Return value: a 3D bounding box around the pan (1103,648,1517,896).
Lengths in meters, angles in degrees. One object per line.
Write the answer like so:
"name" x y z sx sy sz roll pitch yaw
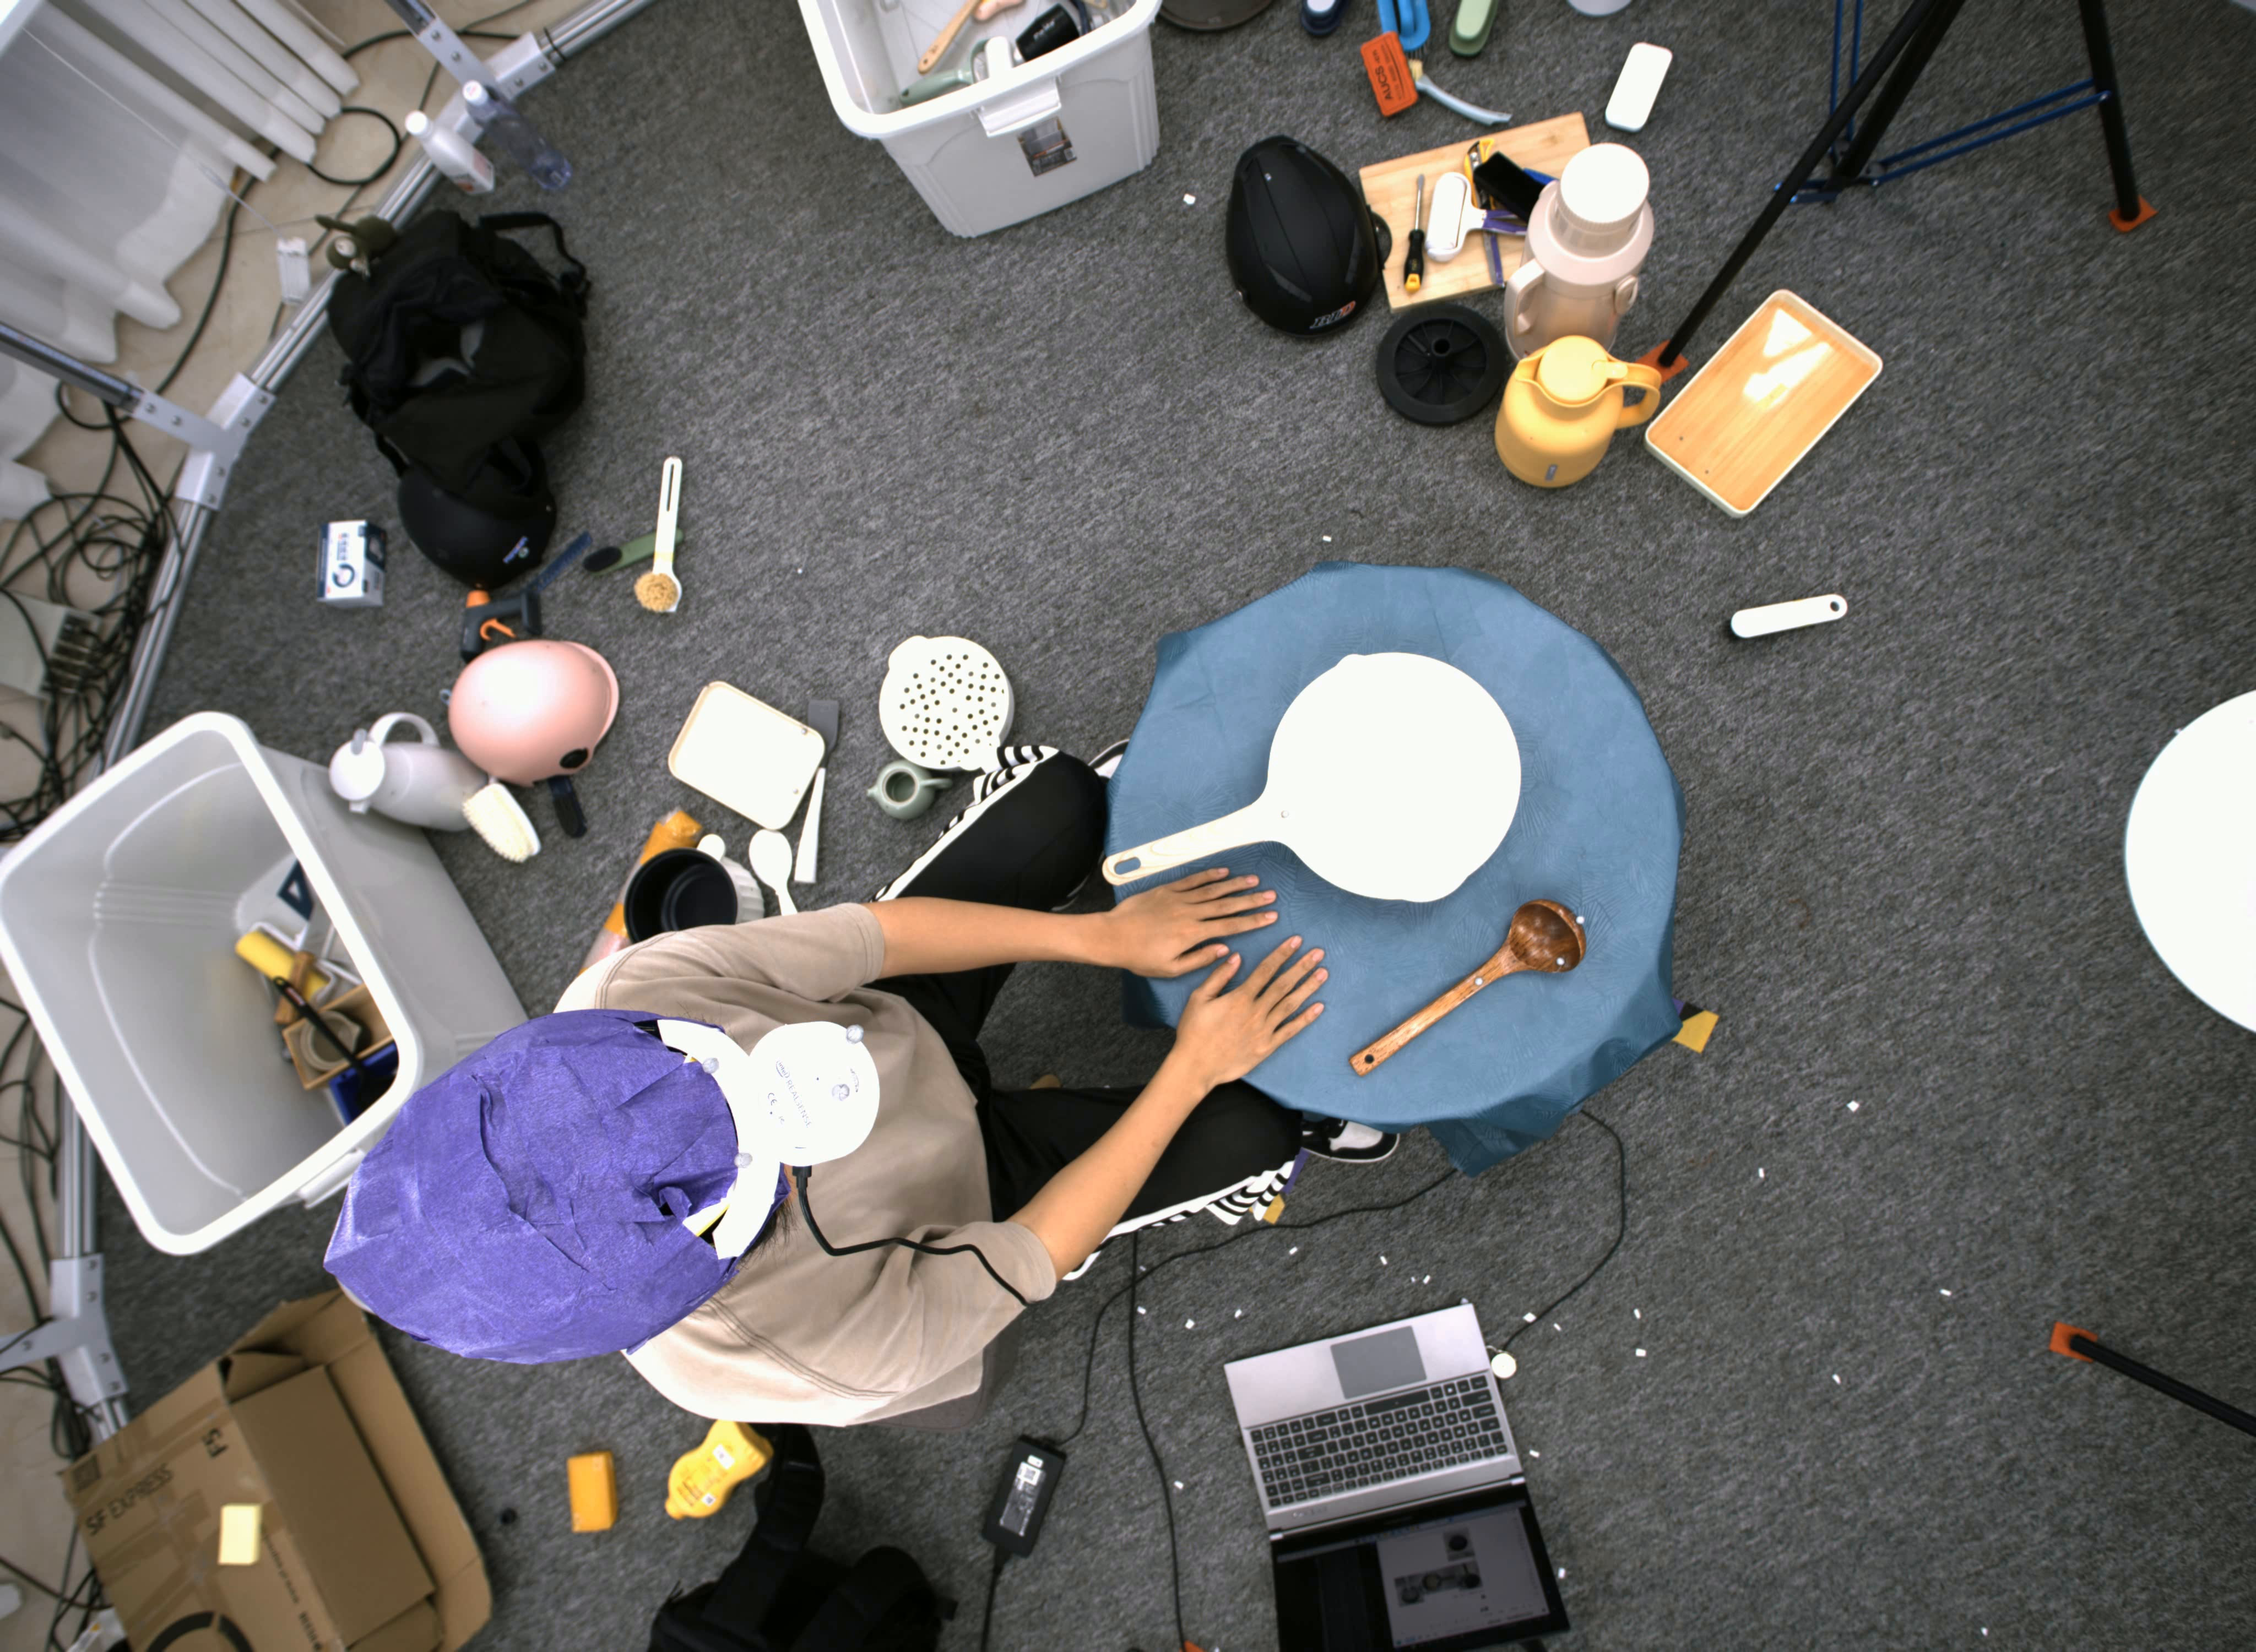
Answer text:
"pan" 0.184 -0.022 1.432 0.437 0.102 0.262 -21 84 9

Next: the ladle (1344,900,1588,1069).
"ladle" 0.341 0.170 1.402 0.275 0.076 0.081 -34 81 6
